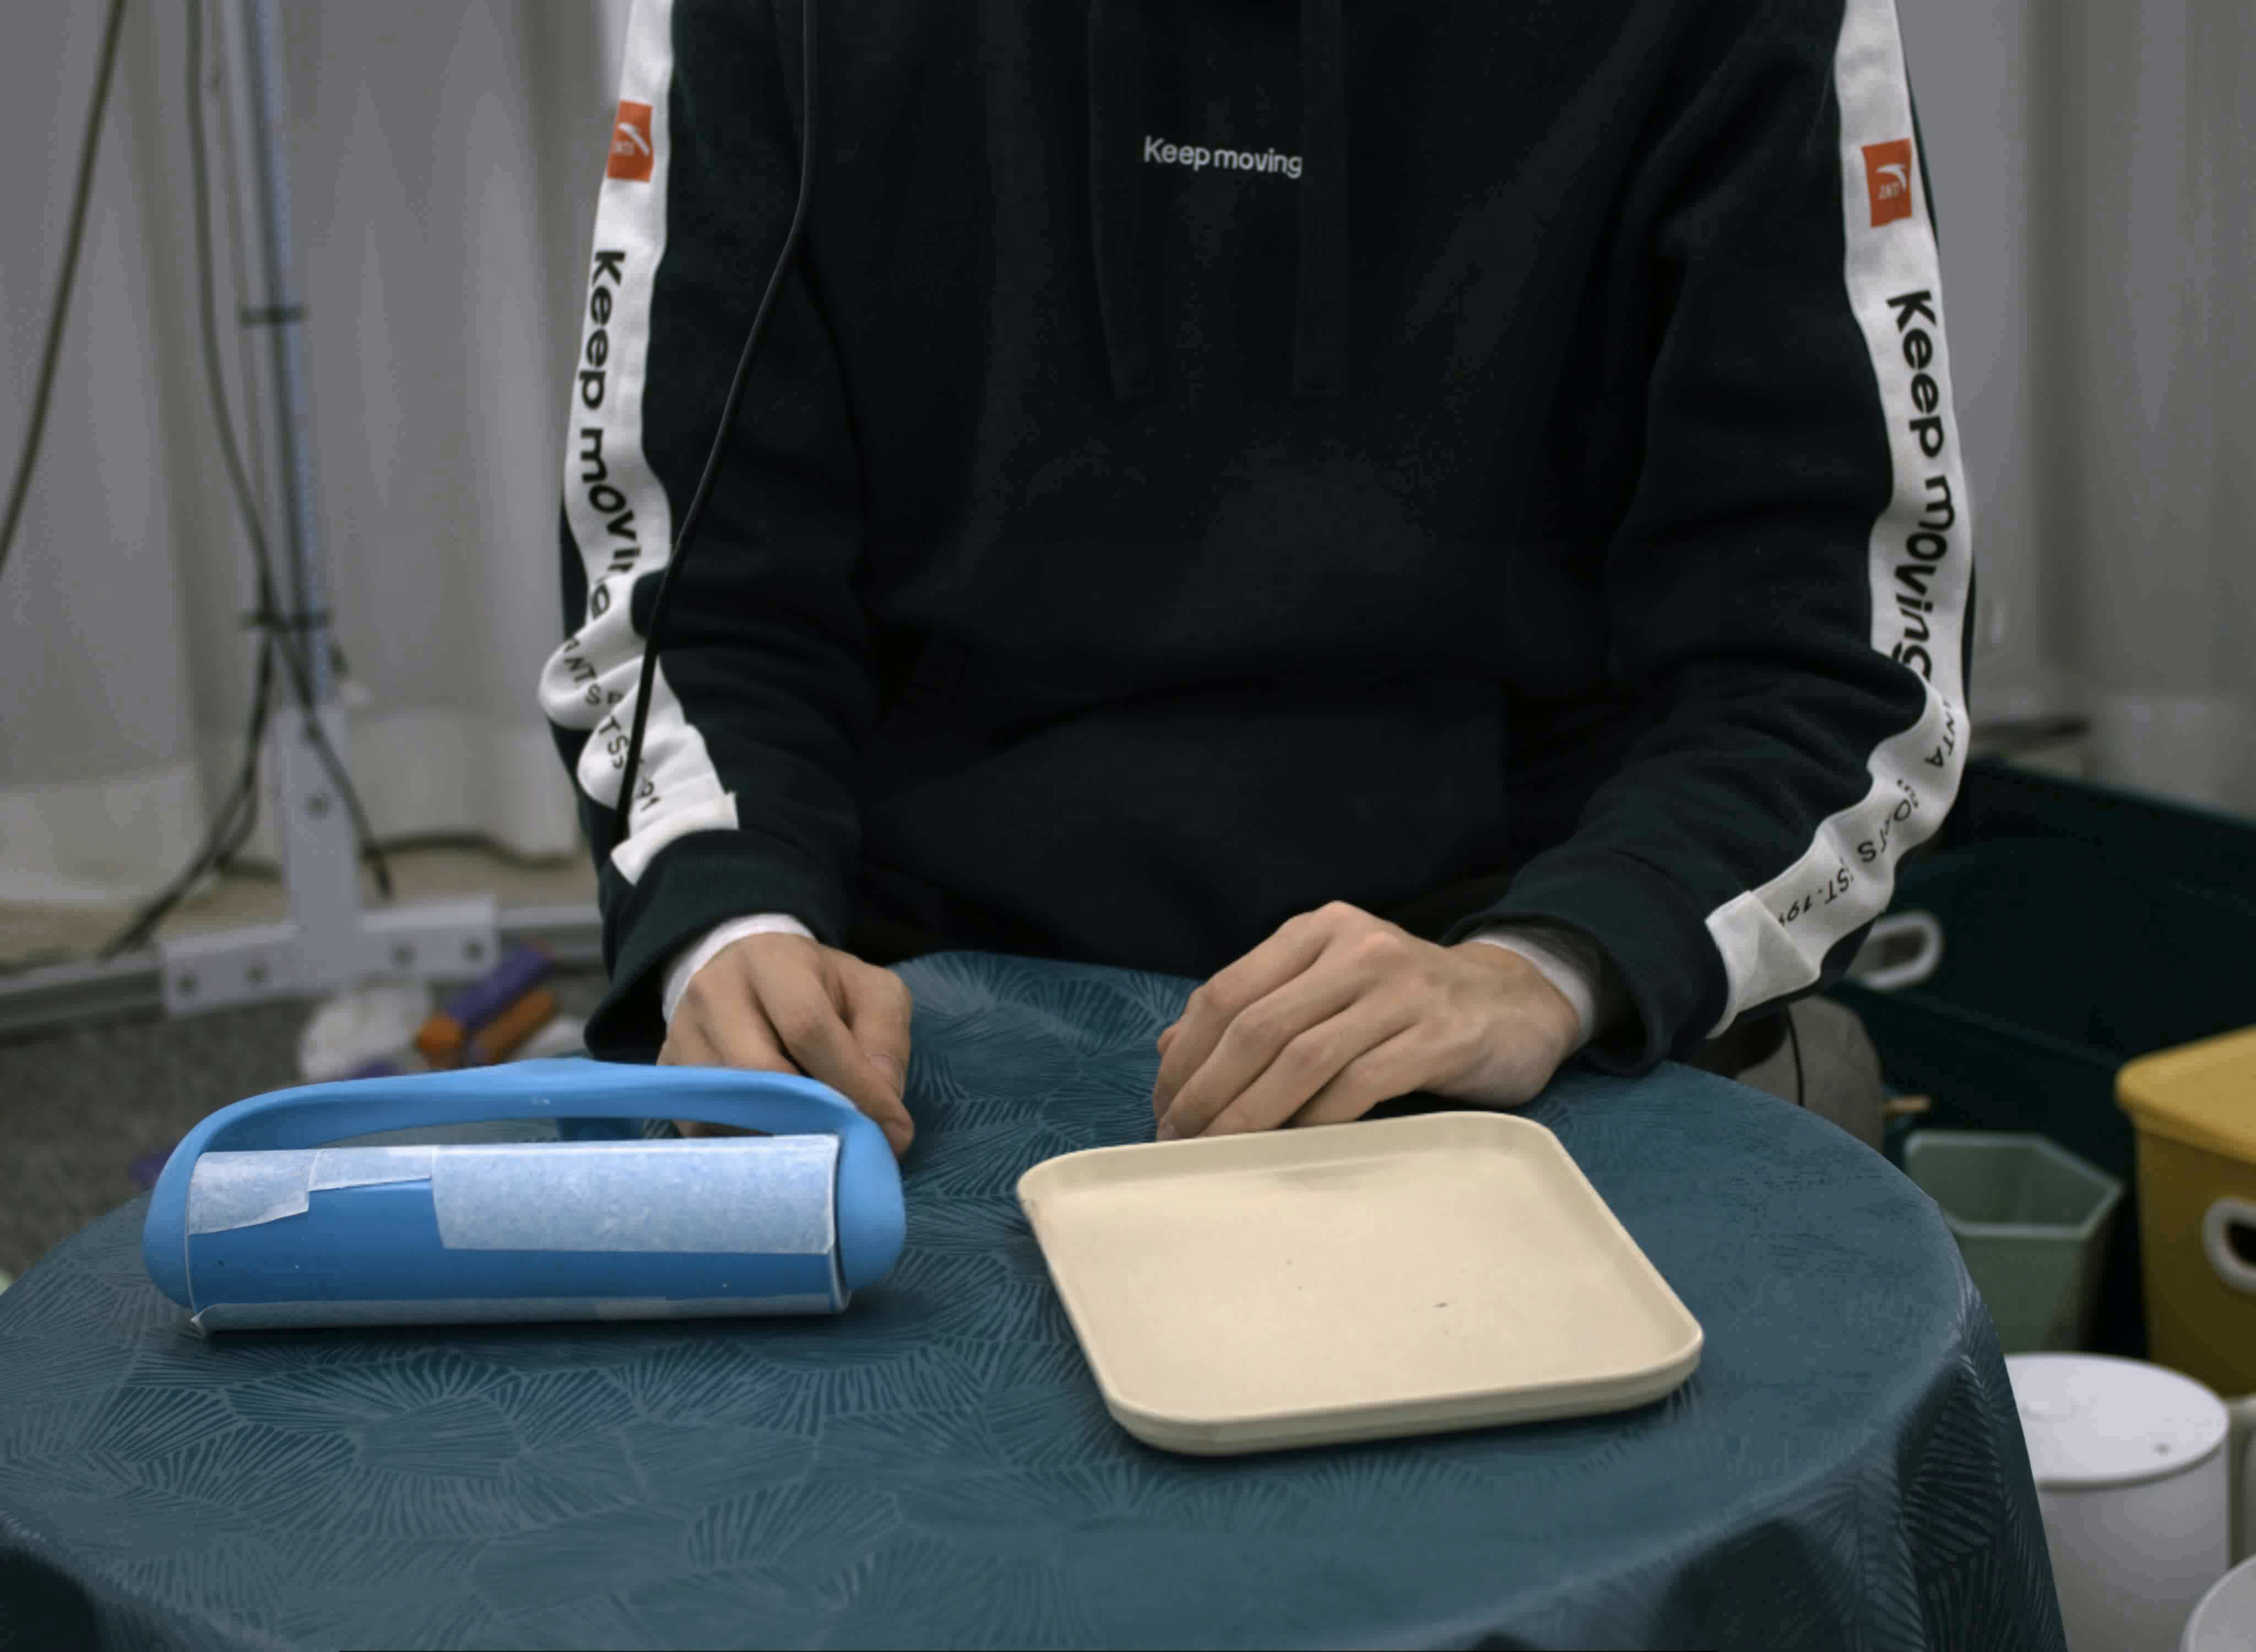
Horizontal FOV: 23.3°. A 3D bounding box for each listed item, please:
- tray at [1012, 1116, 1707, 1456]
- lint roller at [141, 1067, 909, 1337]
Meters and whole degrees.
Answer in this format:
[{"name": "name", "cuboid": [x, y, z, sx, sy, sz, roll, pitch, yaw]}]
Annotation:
[{"name": "tray", "cuboid": [0.063, 0.133, 1.598, 0.170, 0.017, 0.241, -5, 15, -8]}, {"name": "lint roller", "cuboid": [-0.178, 0.105, 1.679, 0.228, 0.067, 0.181, -4, 15, 2]}]
